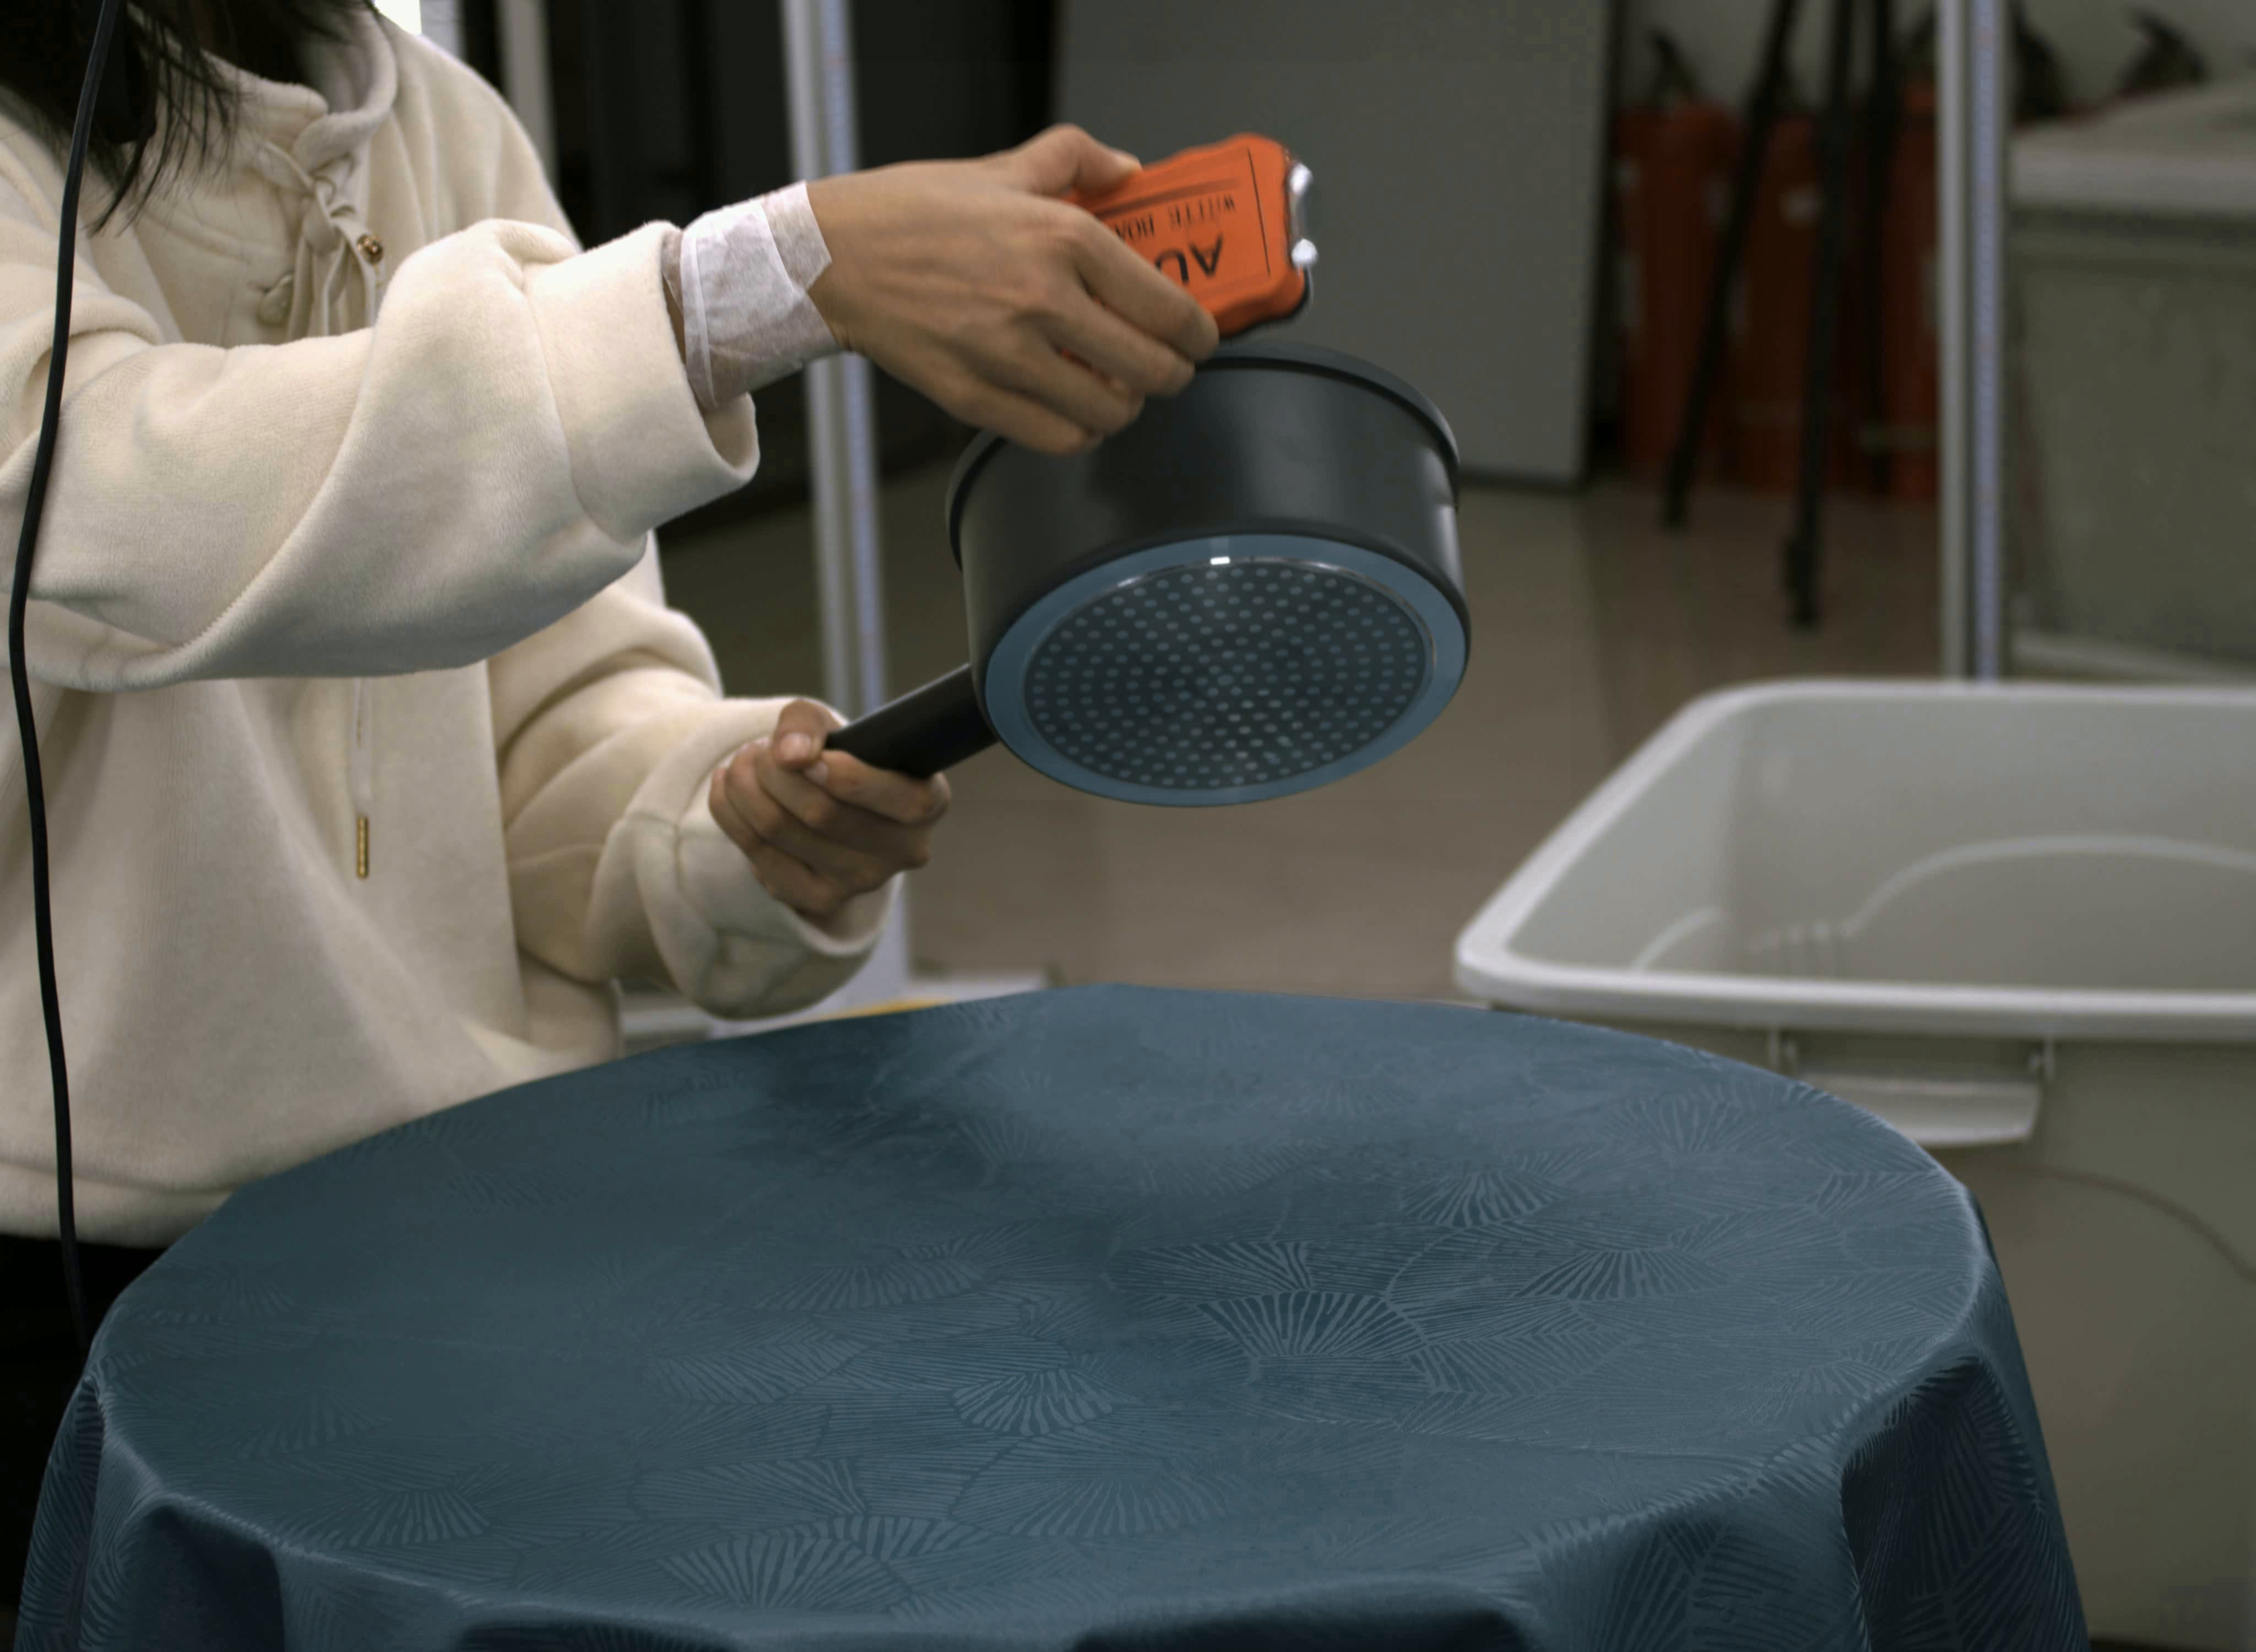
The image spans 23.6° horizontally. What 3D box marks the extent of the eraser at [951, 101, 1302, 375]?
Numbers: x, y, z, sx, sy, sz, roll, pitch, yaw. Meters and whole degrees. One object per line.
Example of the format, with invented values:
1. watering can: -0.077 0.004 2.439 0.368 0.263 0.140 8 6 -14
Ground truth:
1. eraser: -0.001 -0.181 1.673 0.108 0.060 0.022 -16 -22 21

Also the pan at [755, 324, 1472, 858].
1. pan: -0.022 -0.046 1.810 0.168 0.087 0.332 20 -39 -33
